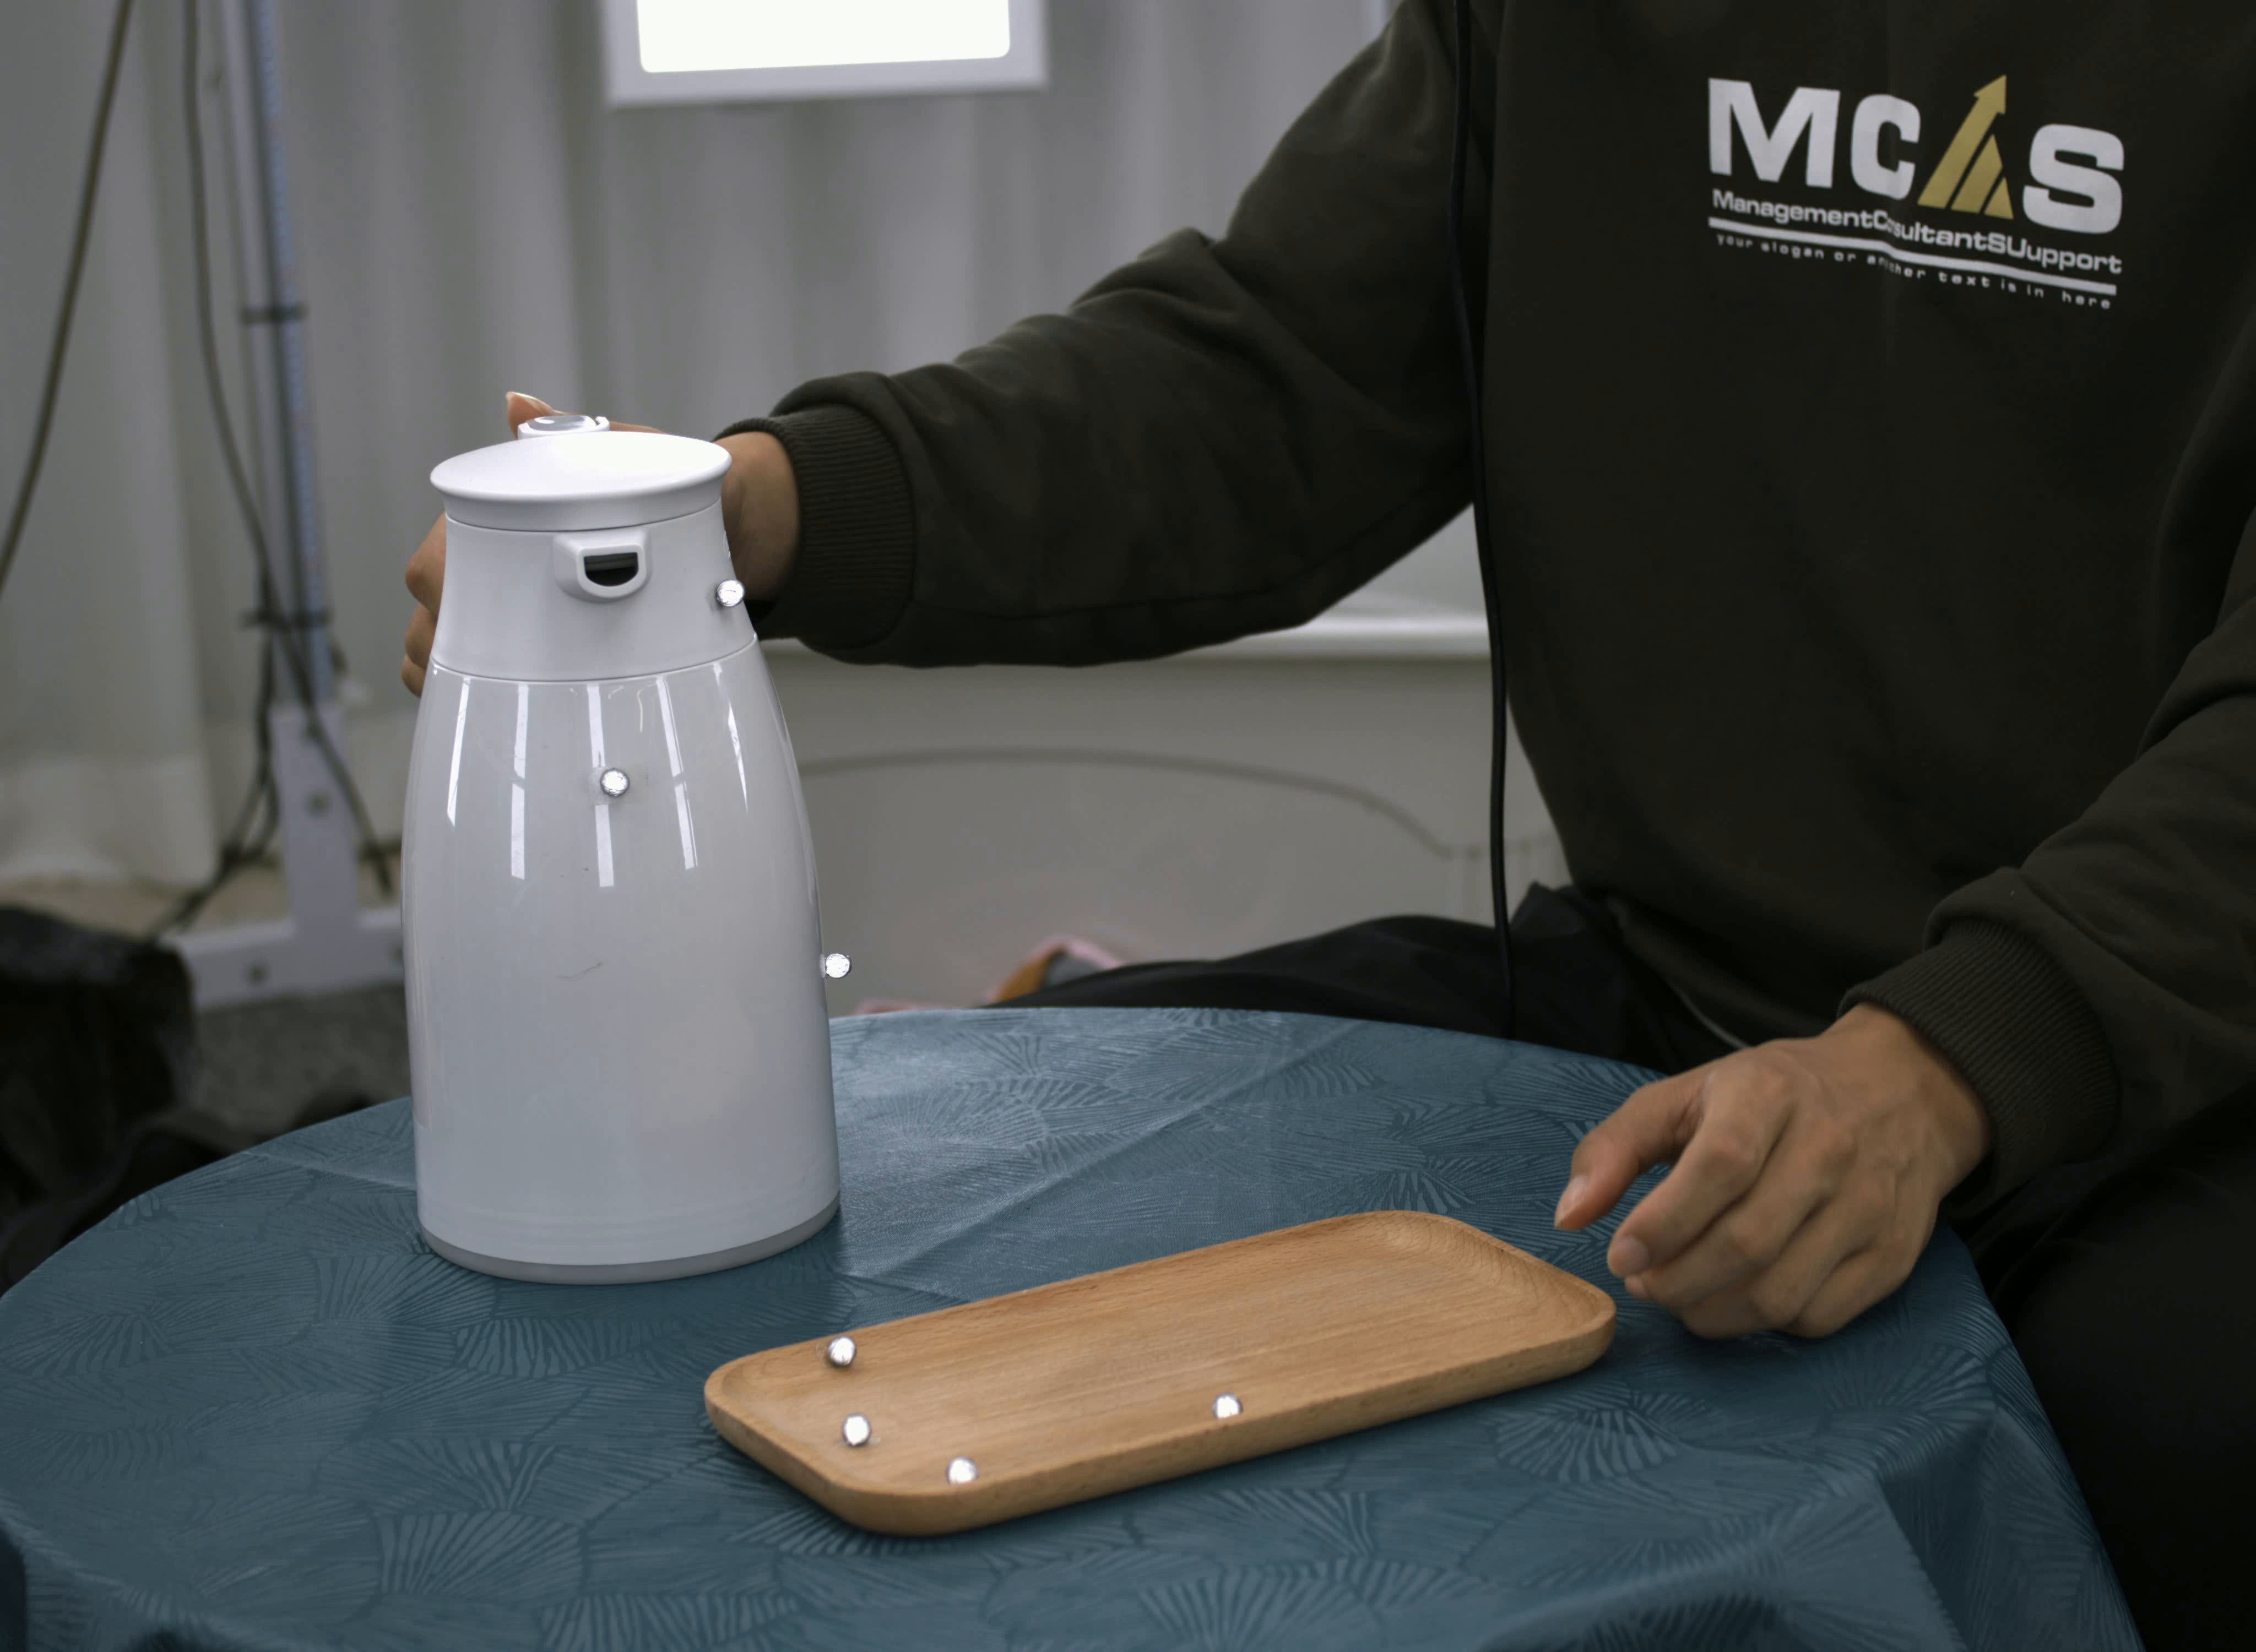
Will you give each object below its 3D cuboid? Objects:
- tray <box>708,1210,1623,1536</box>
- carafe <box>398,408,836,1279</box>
[{"bbox_3d":[0.012,0.153,1.543,0.249,0.023,0.131,-10,19,-27],"label":"tray"},{"bbox_3d":[-0.168,-0.003,1.706,0.132,0.248,0.169,-6,14,-13],"label":"carafe"}]
